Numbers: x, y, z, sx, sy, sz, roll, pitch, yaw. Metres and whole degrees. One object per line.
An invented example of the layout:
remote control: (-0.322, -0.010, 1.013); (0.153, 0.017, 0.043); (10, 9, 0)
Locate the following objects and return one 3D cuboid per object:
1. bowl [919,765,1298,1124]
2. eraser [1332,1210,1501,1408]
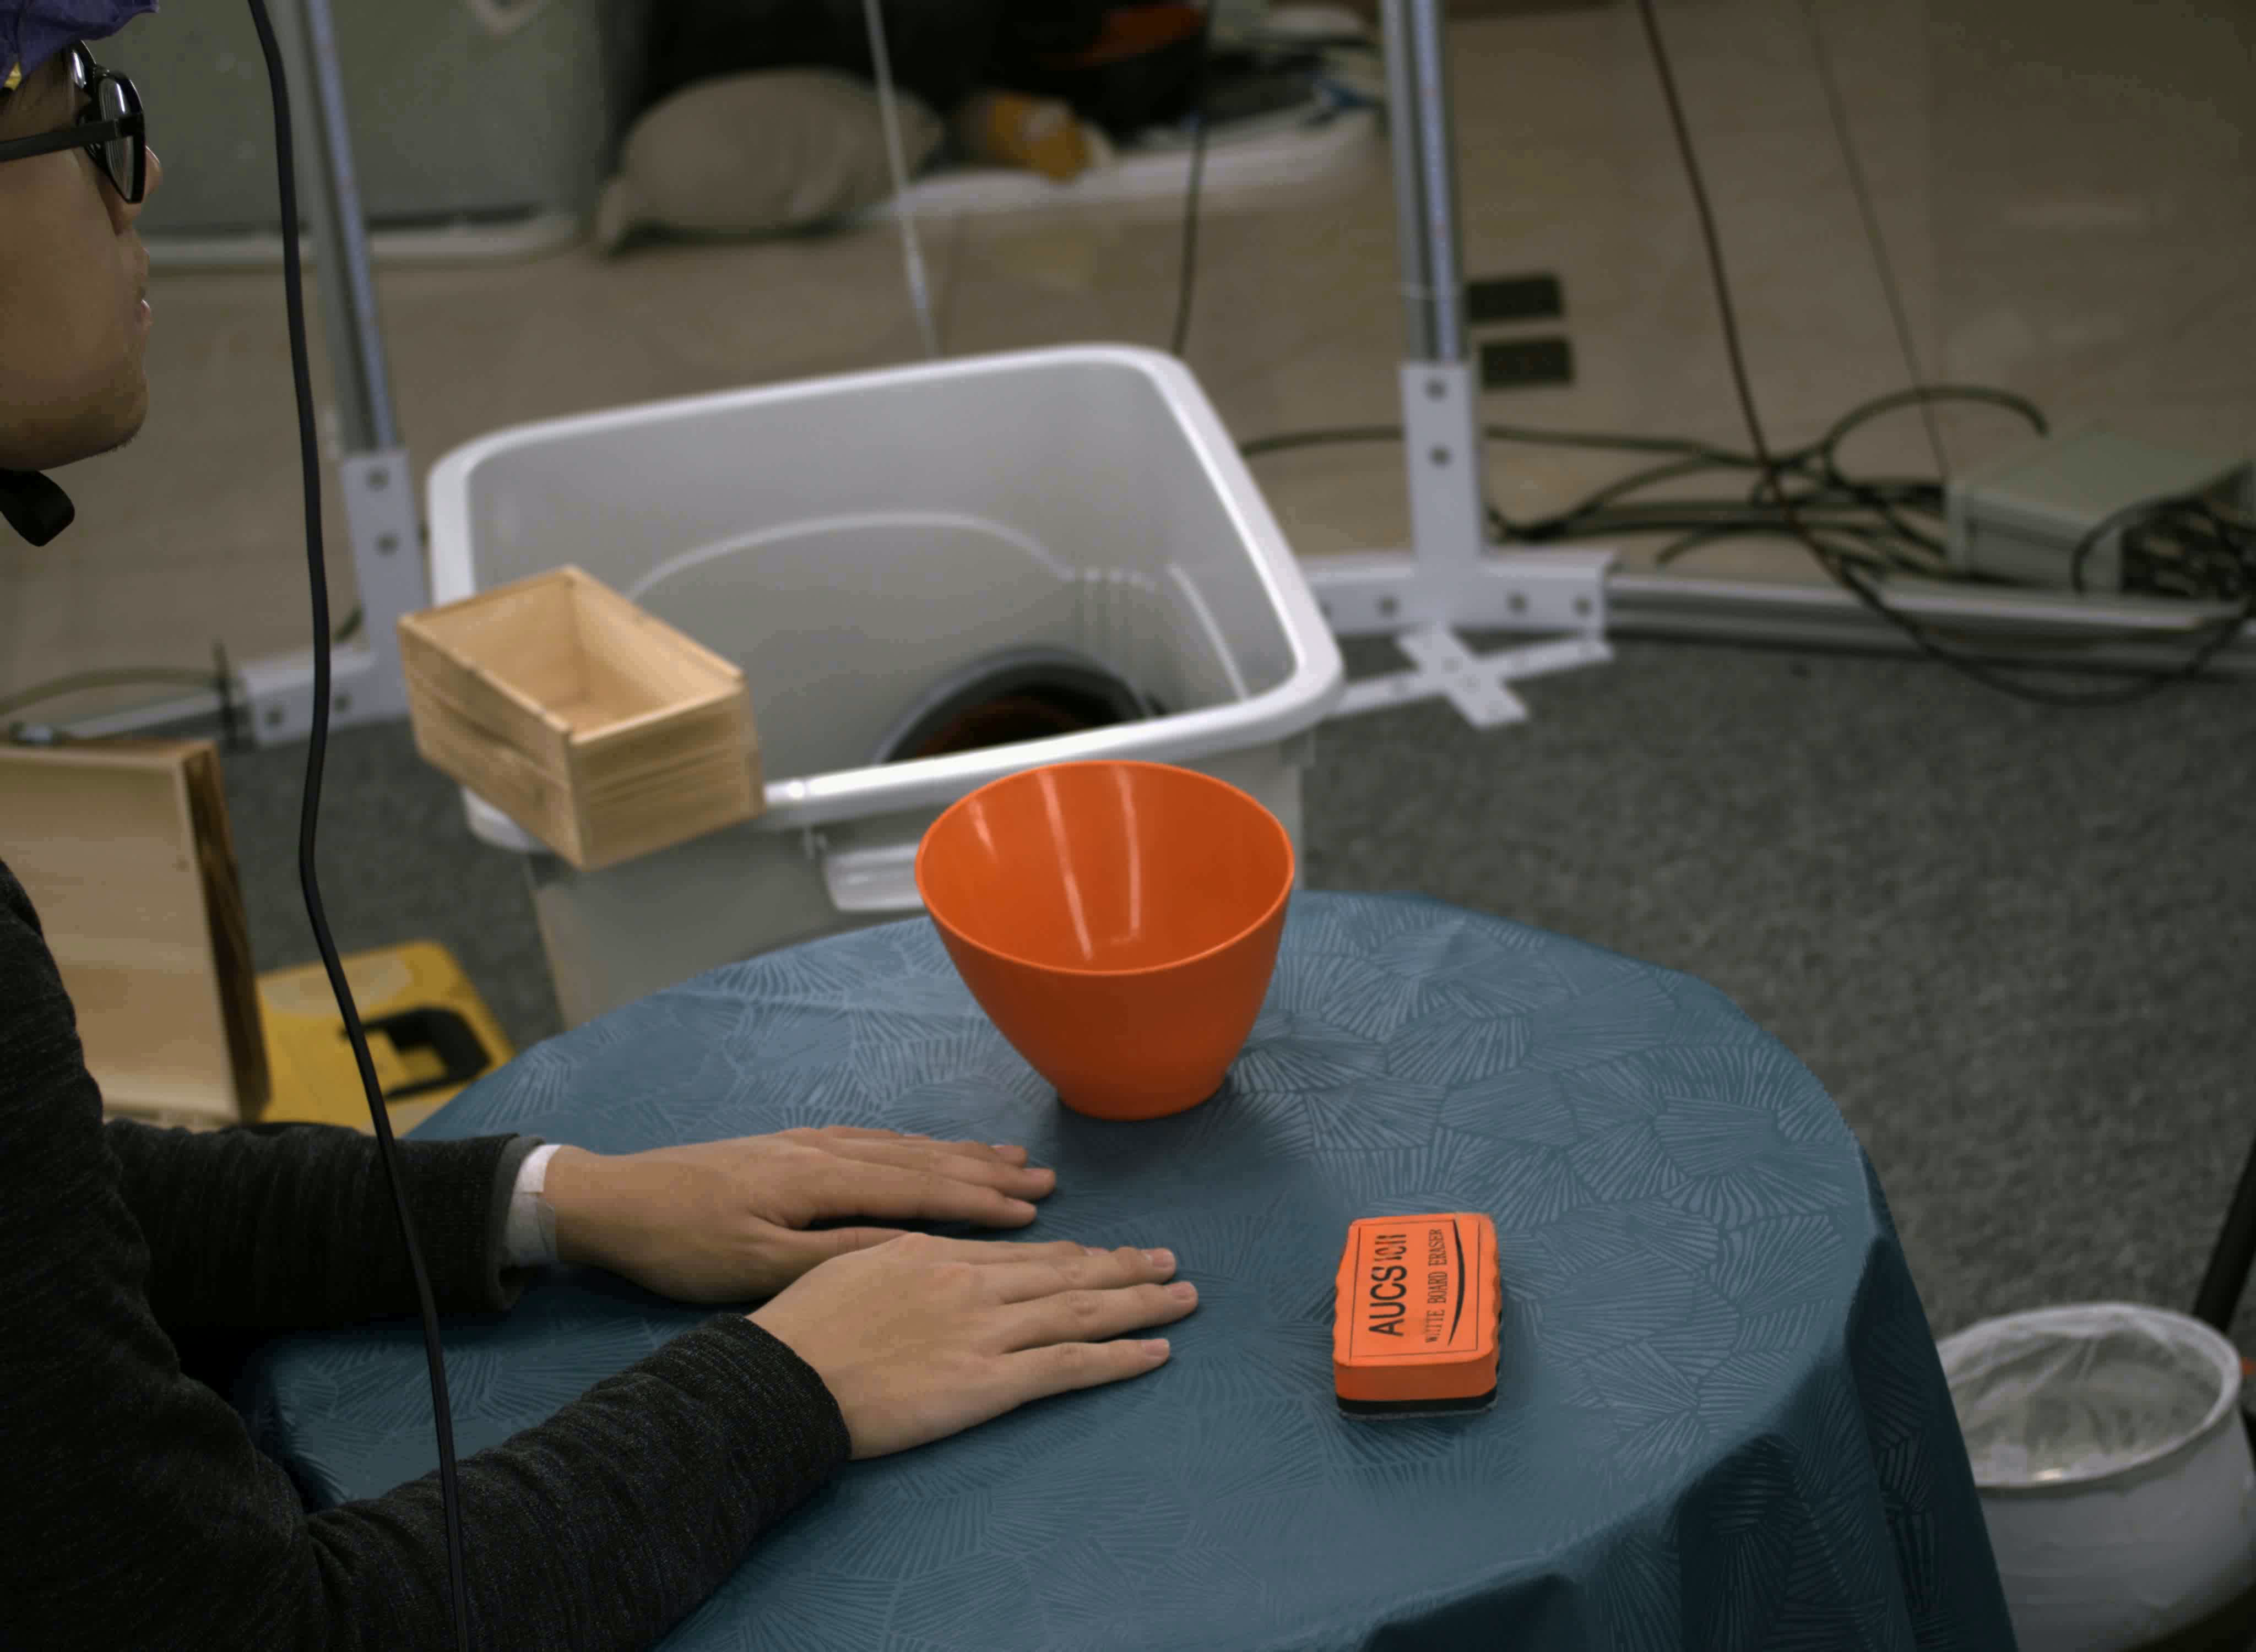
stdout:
bowl: (-0.004, 0.052, 2.215); (0.148, 0.106, 0.146); (-5, 25, 2)
eraser: (0.103, 0.171, 2.019); (0.059, 0.023, 0.106); (-2, 24, 5)
